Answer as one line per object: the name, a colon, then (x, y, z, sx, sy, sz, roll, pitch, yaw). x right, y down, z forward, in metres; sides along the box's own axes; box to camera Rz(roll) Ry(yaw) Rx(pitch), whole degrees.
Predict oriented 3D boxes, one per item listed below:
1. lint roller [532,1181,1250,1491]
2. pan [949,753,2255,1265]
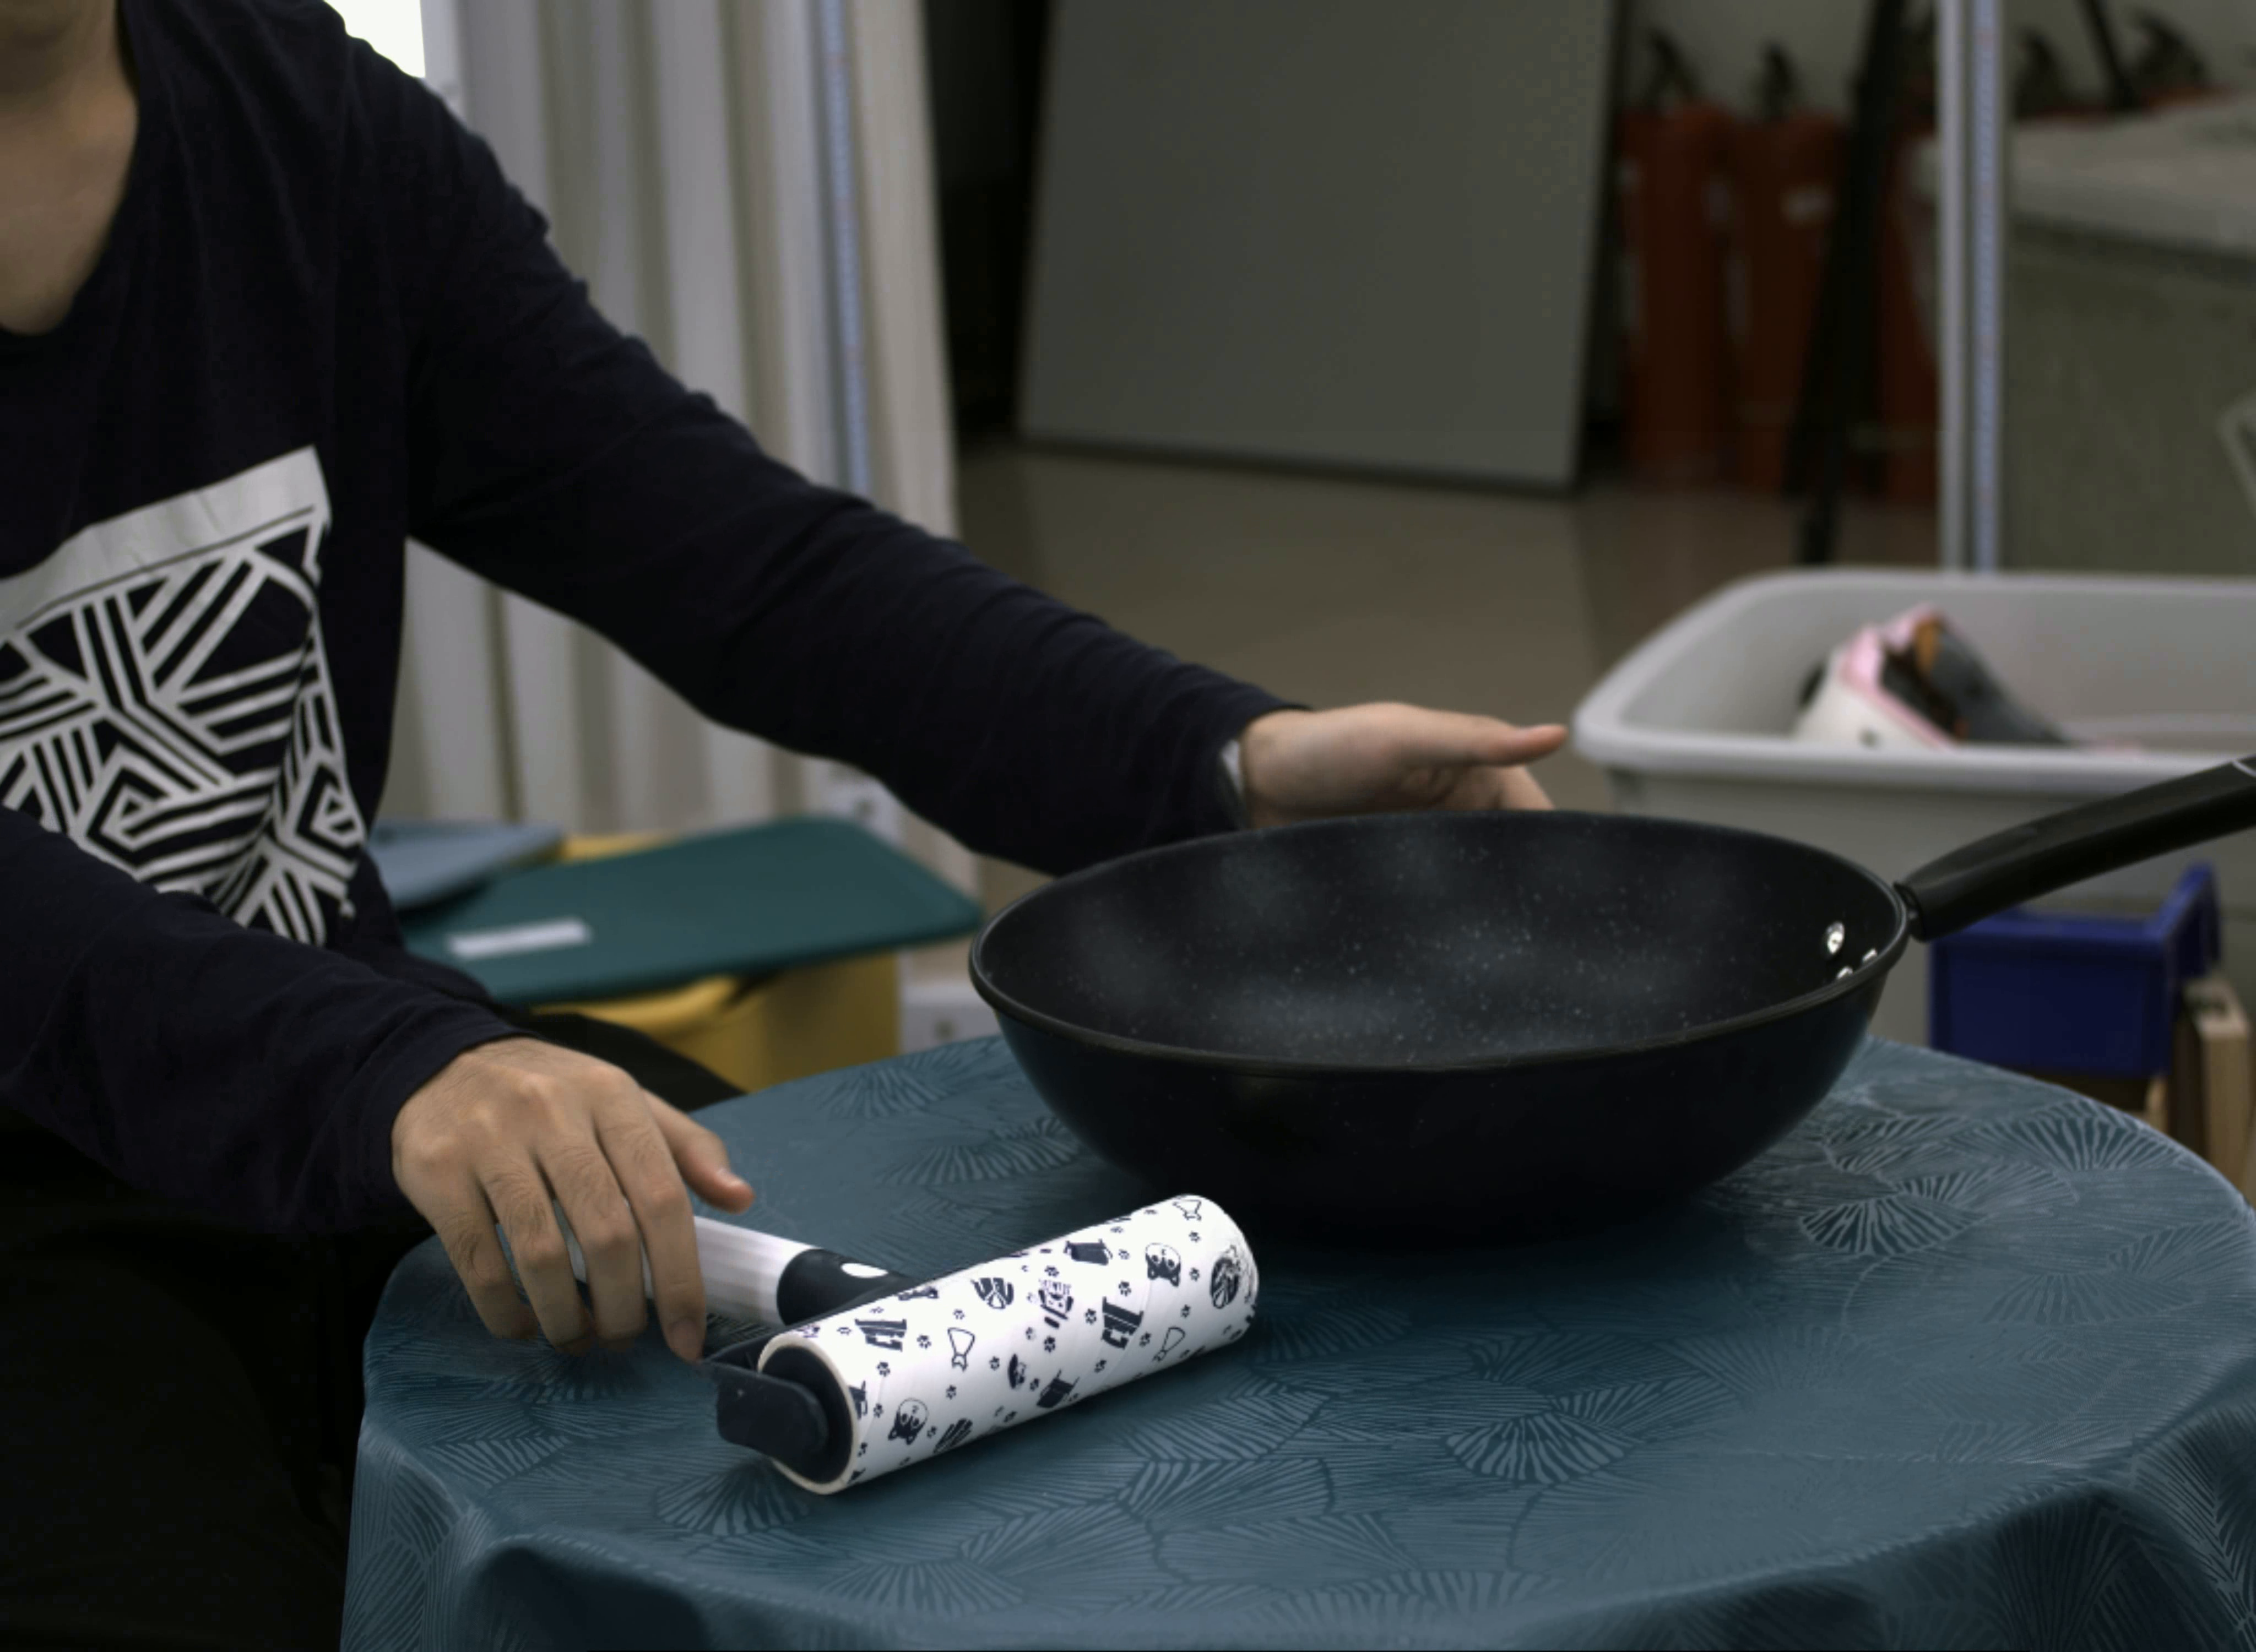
lint roller: (-0.104, 0.140, 1.641, 0.172, 0.051, 0.249, -17, 16, -41)
pan: (0.177, 0.054, 1.769, 0.469, 0.113, 0.312, -7, 15, -9)
